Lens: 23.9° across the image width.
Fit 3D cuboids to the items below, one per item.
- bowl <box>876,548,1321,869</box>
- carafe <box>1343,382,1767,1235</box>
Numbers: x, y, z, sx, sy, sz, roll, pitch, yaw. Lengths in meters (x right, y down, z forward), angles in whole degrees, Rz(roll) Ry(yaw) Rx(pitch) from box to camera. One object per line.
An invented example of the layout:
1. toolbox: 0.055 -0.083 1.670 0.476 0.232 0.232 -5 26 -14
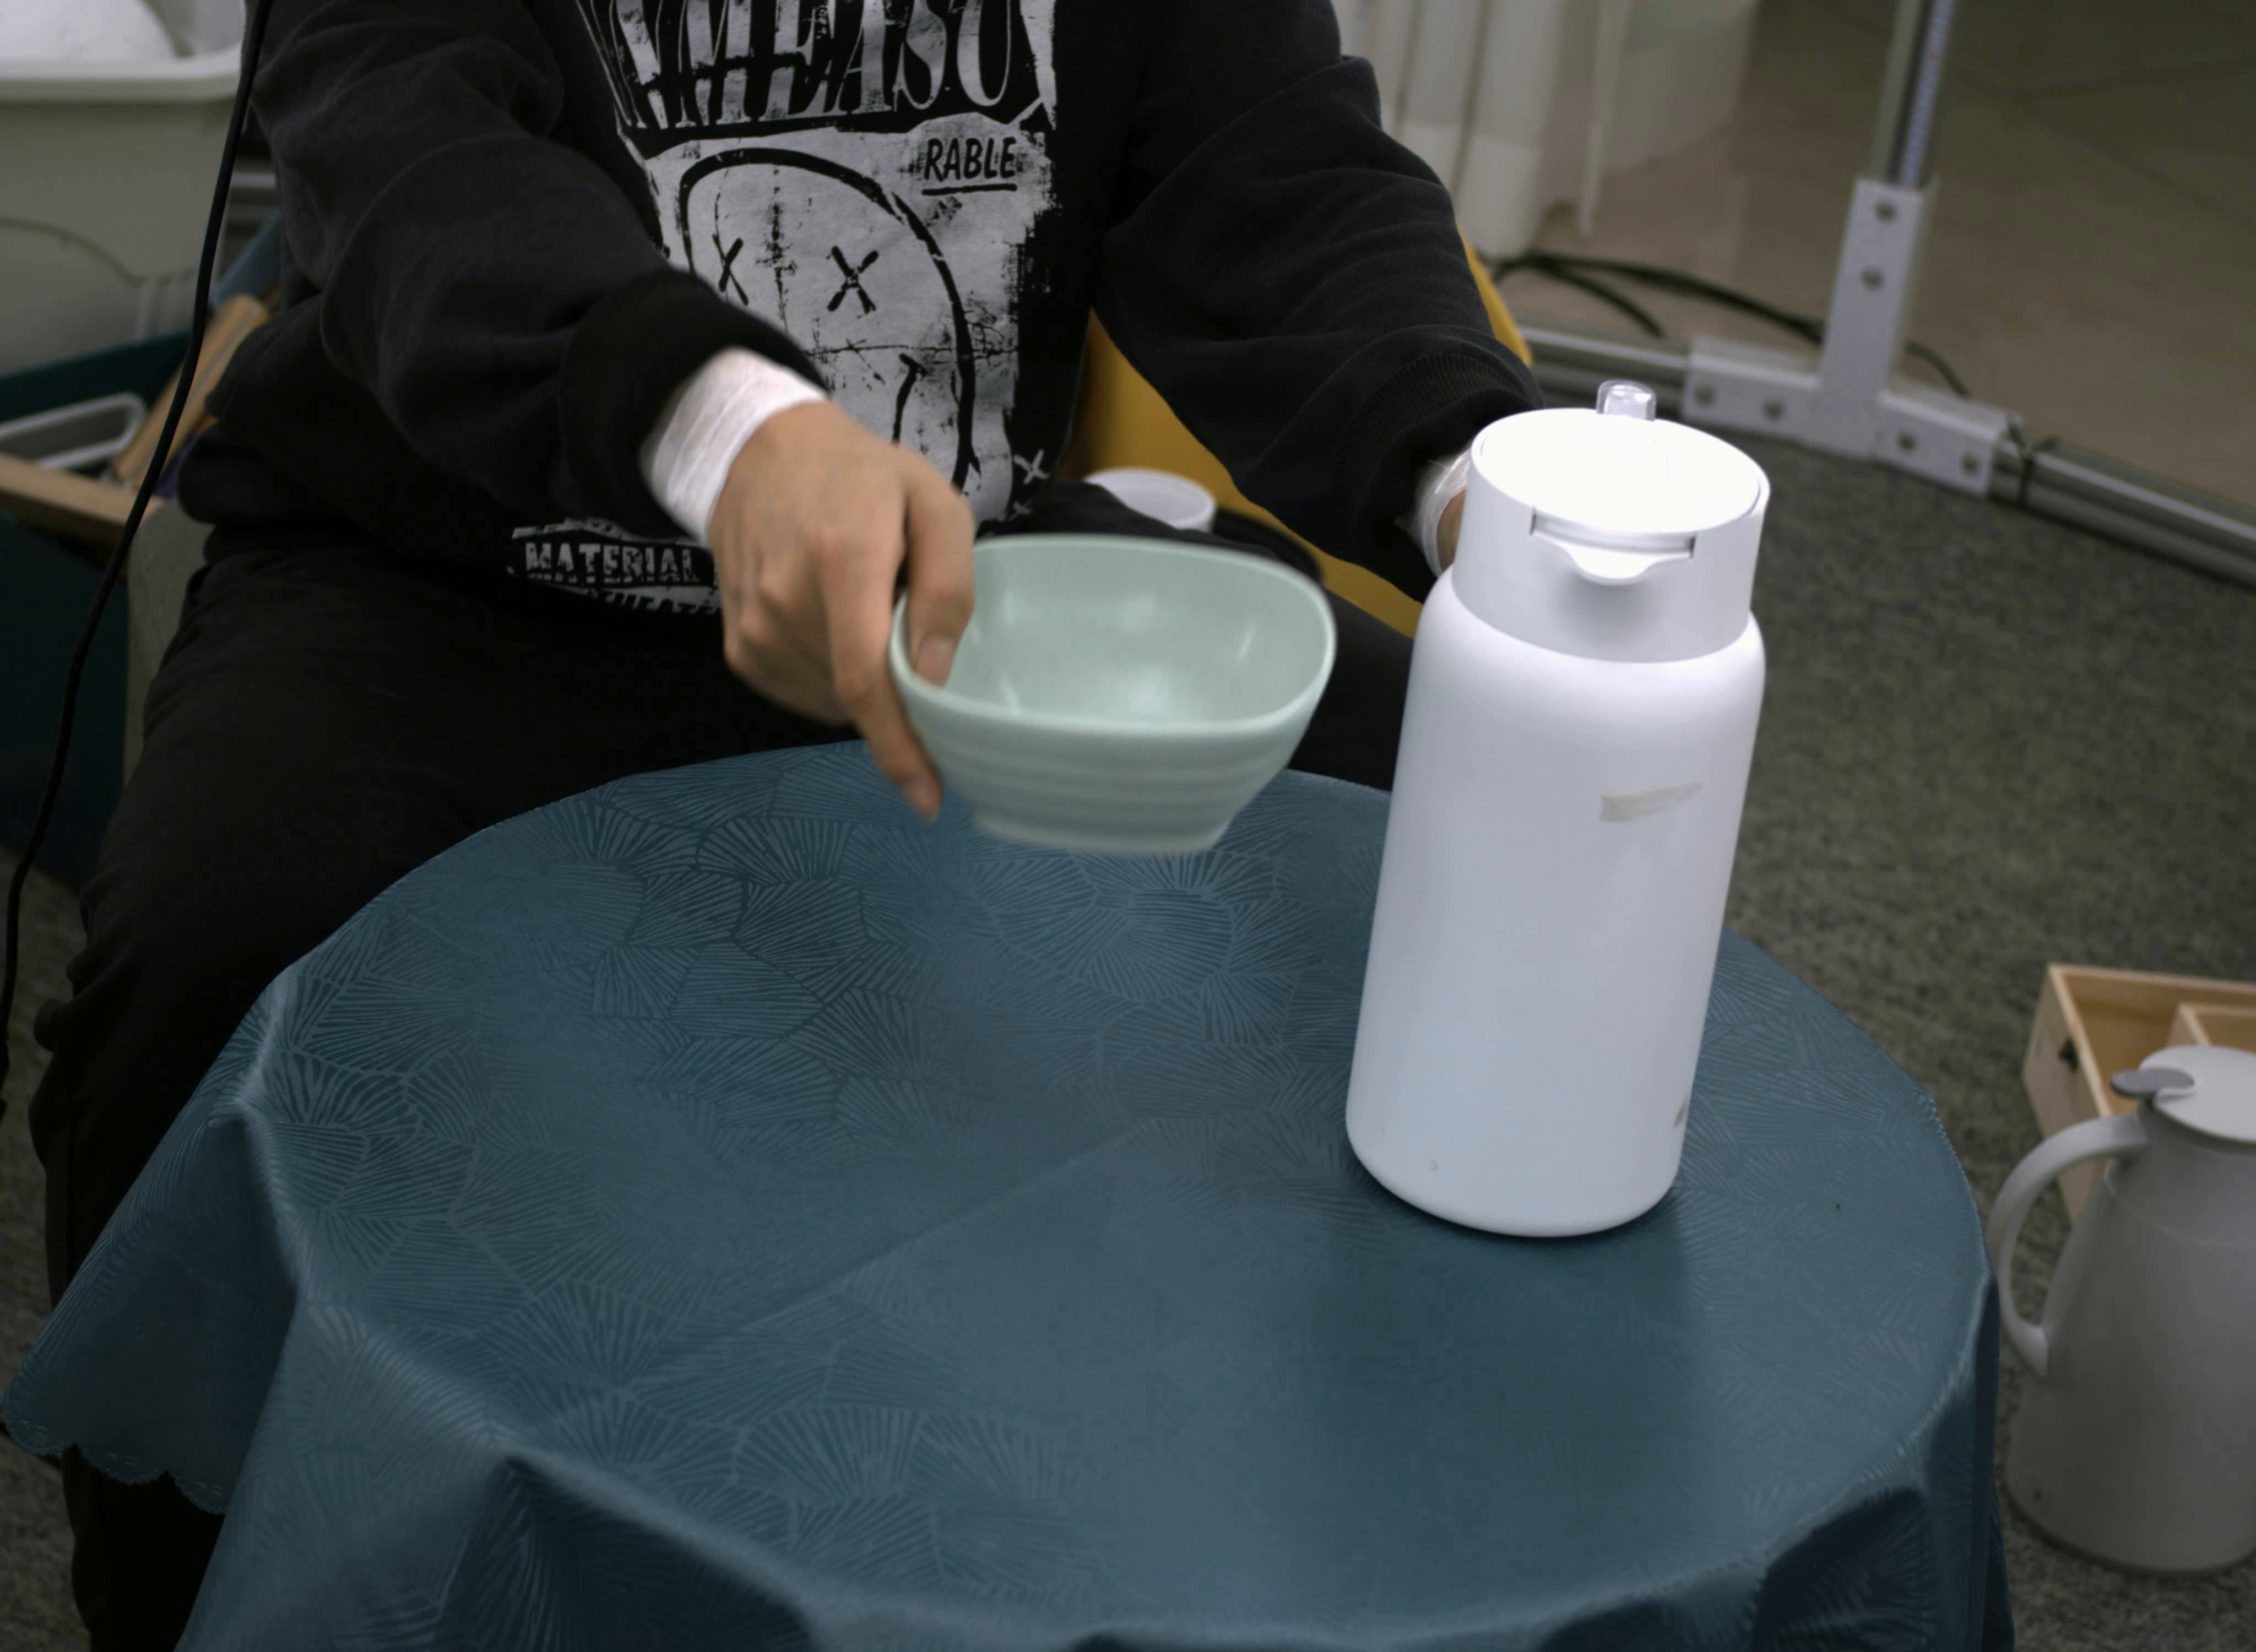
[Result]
1. bowl: -0.010 -0.032 1.672 0.151 0.058 0.152 2 27 -2
2. carafe: 0.146 -0.010 1.806 0.123 0.268 0.173 6 26 3
